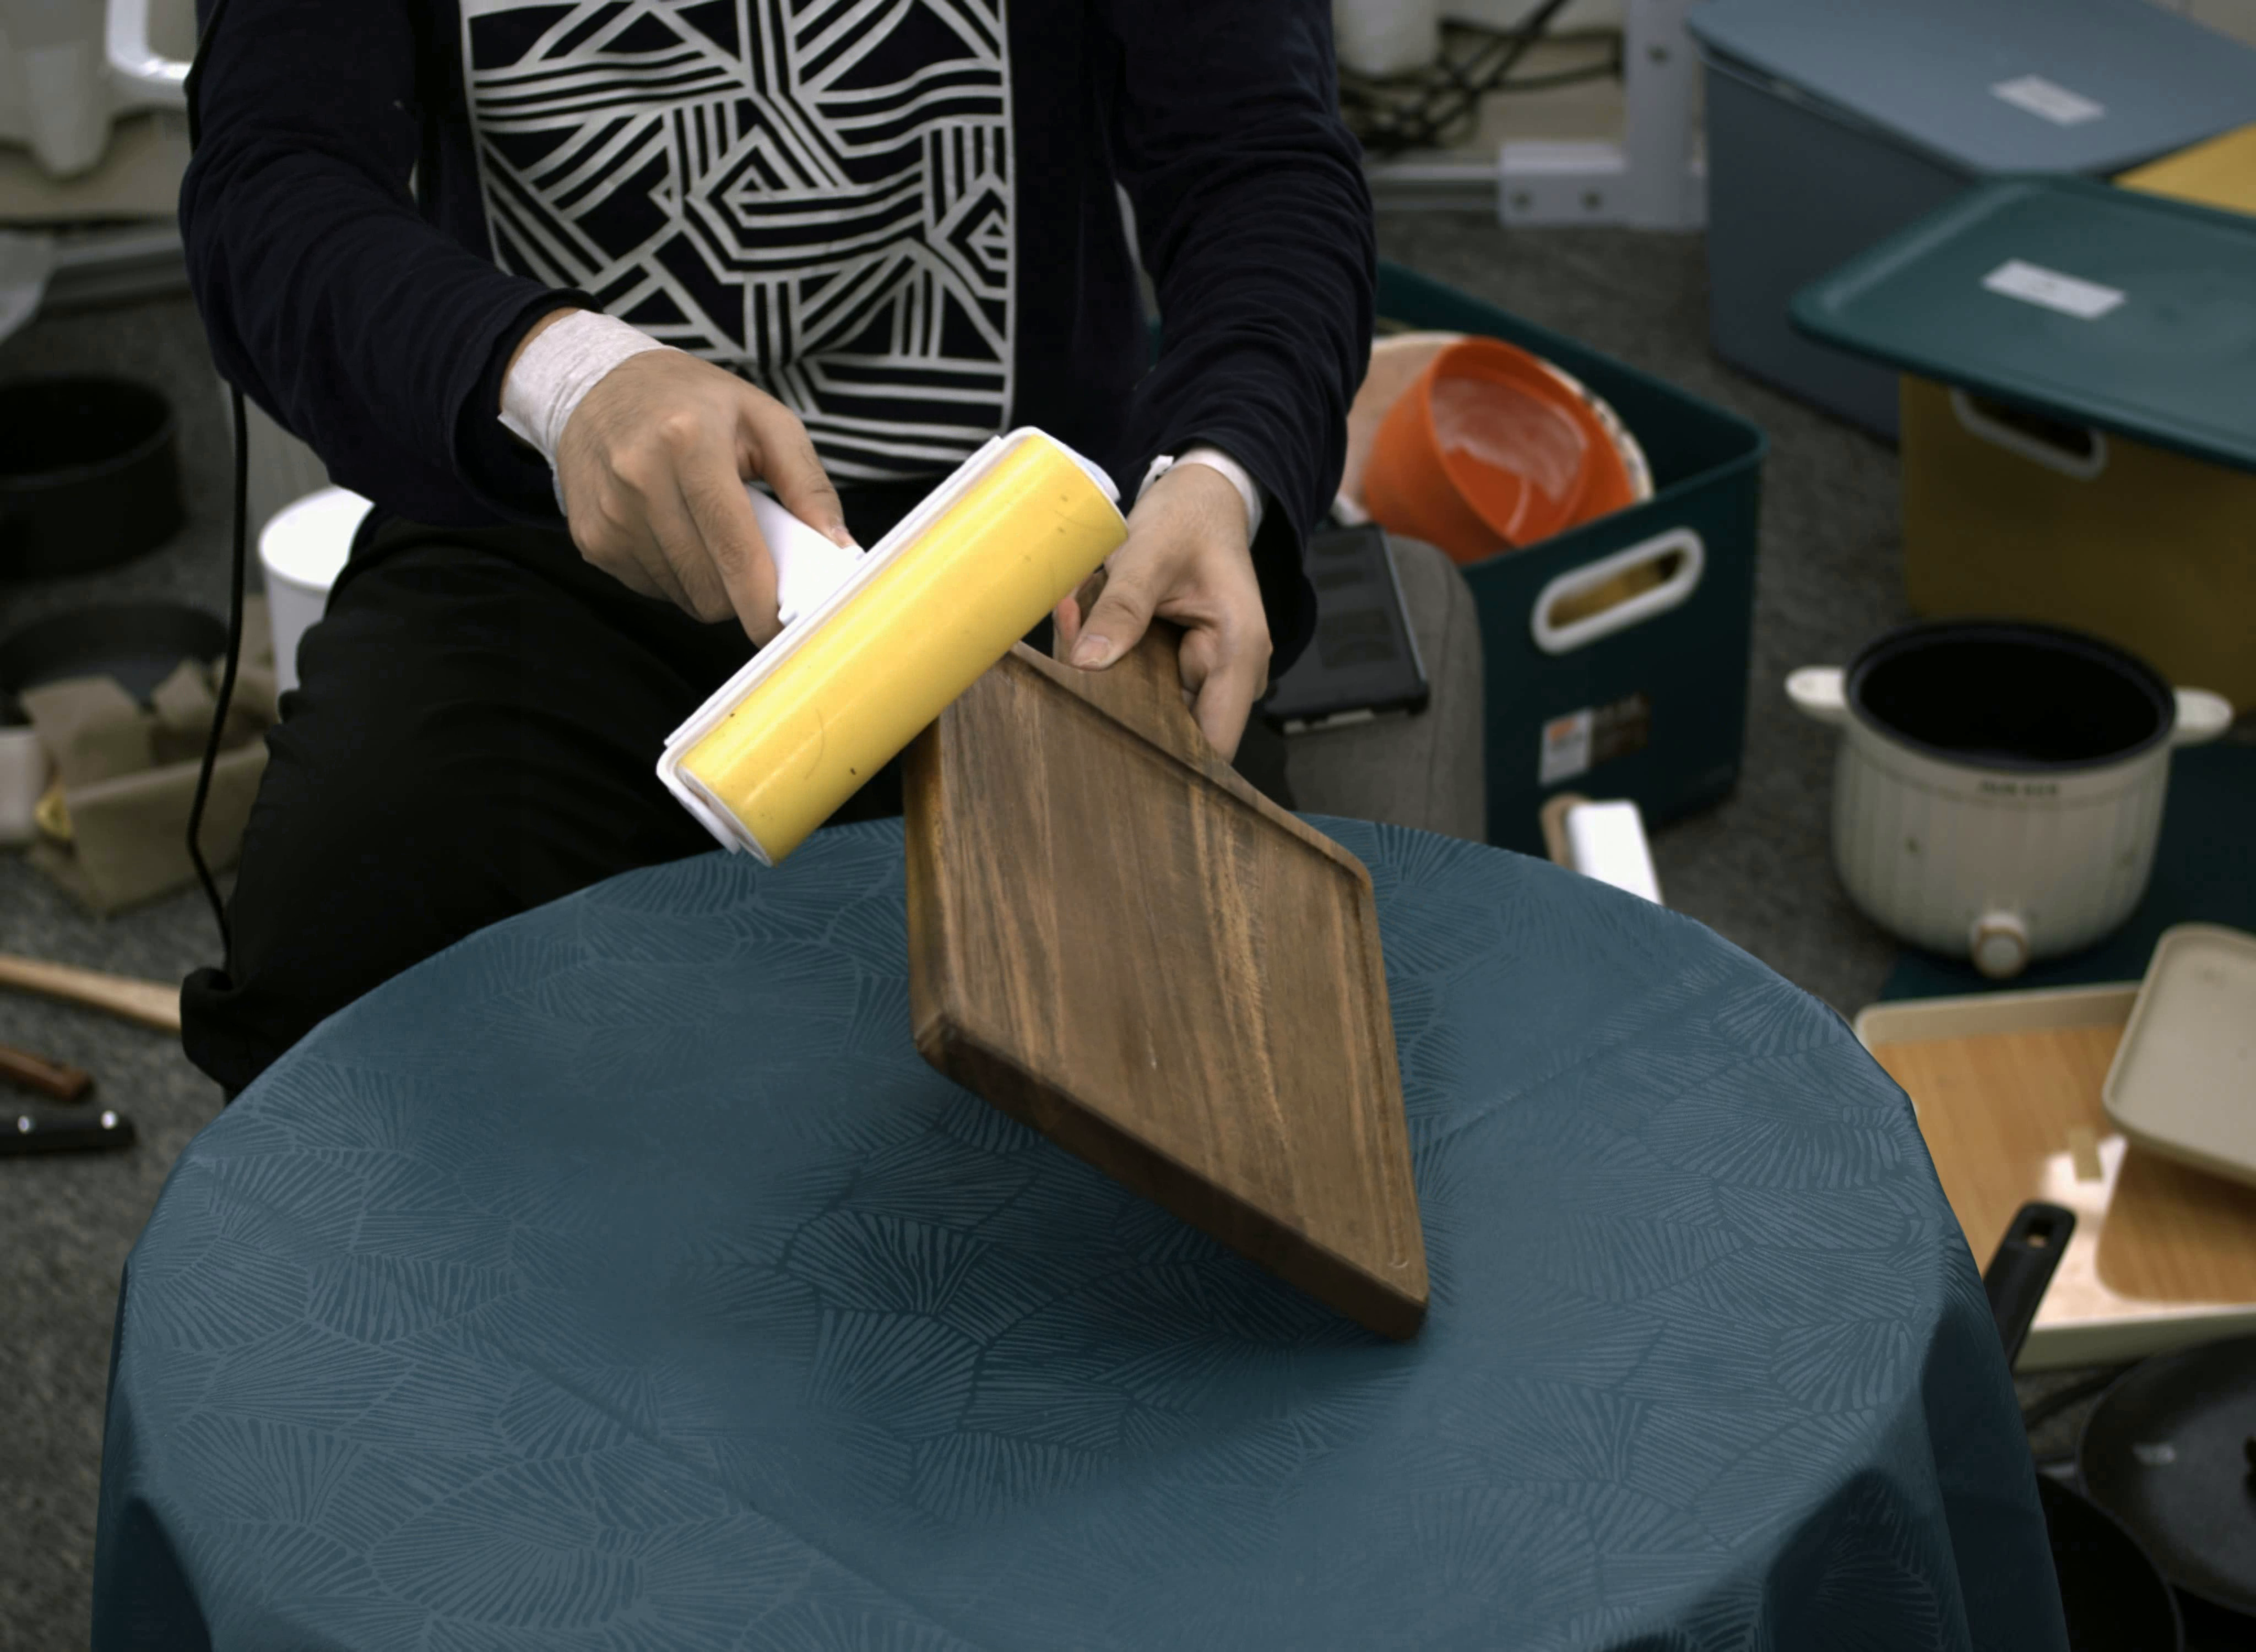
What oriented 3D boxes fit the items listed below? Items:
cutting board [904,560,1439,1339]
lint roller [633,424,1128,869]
[{"bbox_3d":[0.008,0.014,1.879,0.200,0.023,0.358,33,26,-22],"label":"cutting board"},{"bbox_3d":[-0.115,-0.089,1.877,0.175,0.051,0.193,-44,48,-11],"label":"lint roller"}]
